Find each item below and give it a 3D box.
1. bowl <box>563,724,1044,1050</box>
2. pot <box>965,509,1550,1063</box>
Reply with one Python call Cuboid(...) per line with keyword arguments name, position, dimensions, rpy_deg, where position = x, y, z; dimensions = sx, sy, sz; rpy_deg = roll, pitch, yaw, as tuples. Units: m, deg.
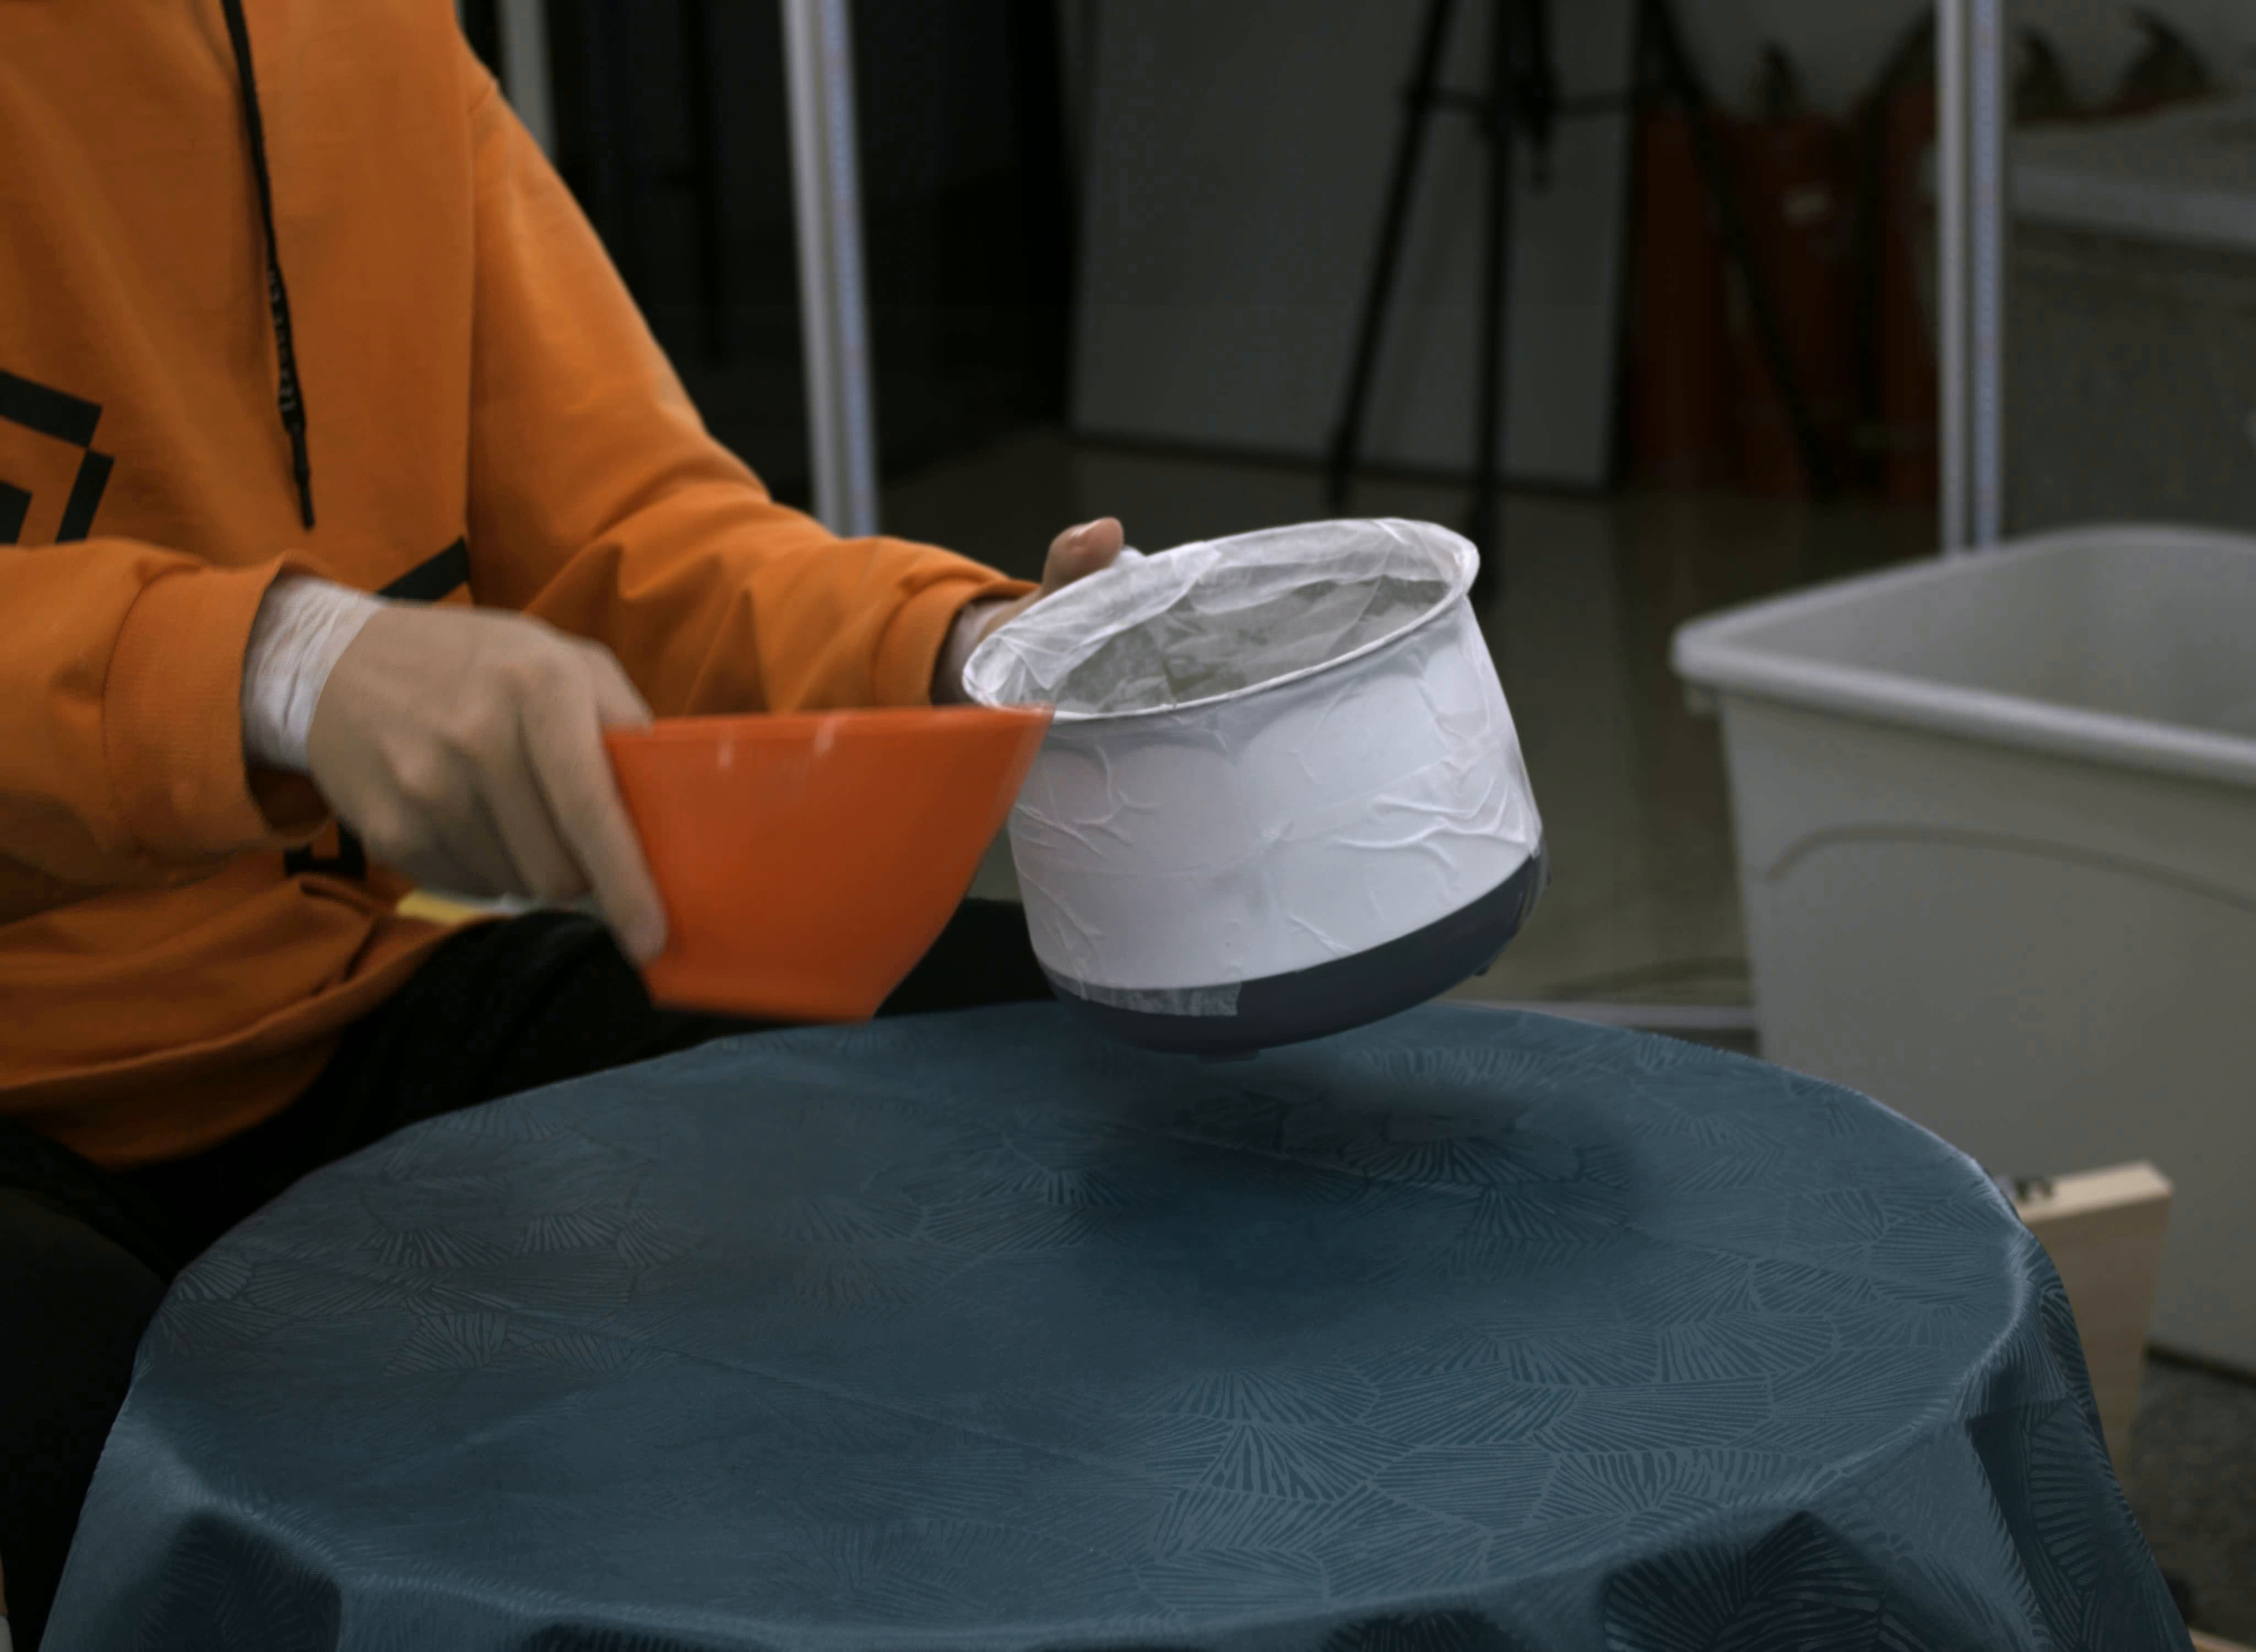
Cuboid(name="bowl", position=(-0.101, 0.015, 1.647), dimensions=(0.146, 0.106, 0.148), rpy_deg=(4, -4, -1))
Cuboid(name="pot", position=(0.035, -0.019, 1.819), dimensions=(0.176, 0.137, 0.236), rpy_deg=(-20, 19, -16))
